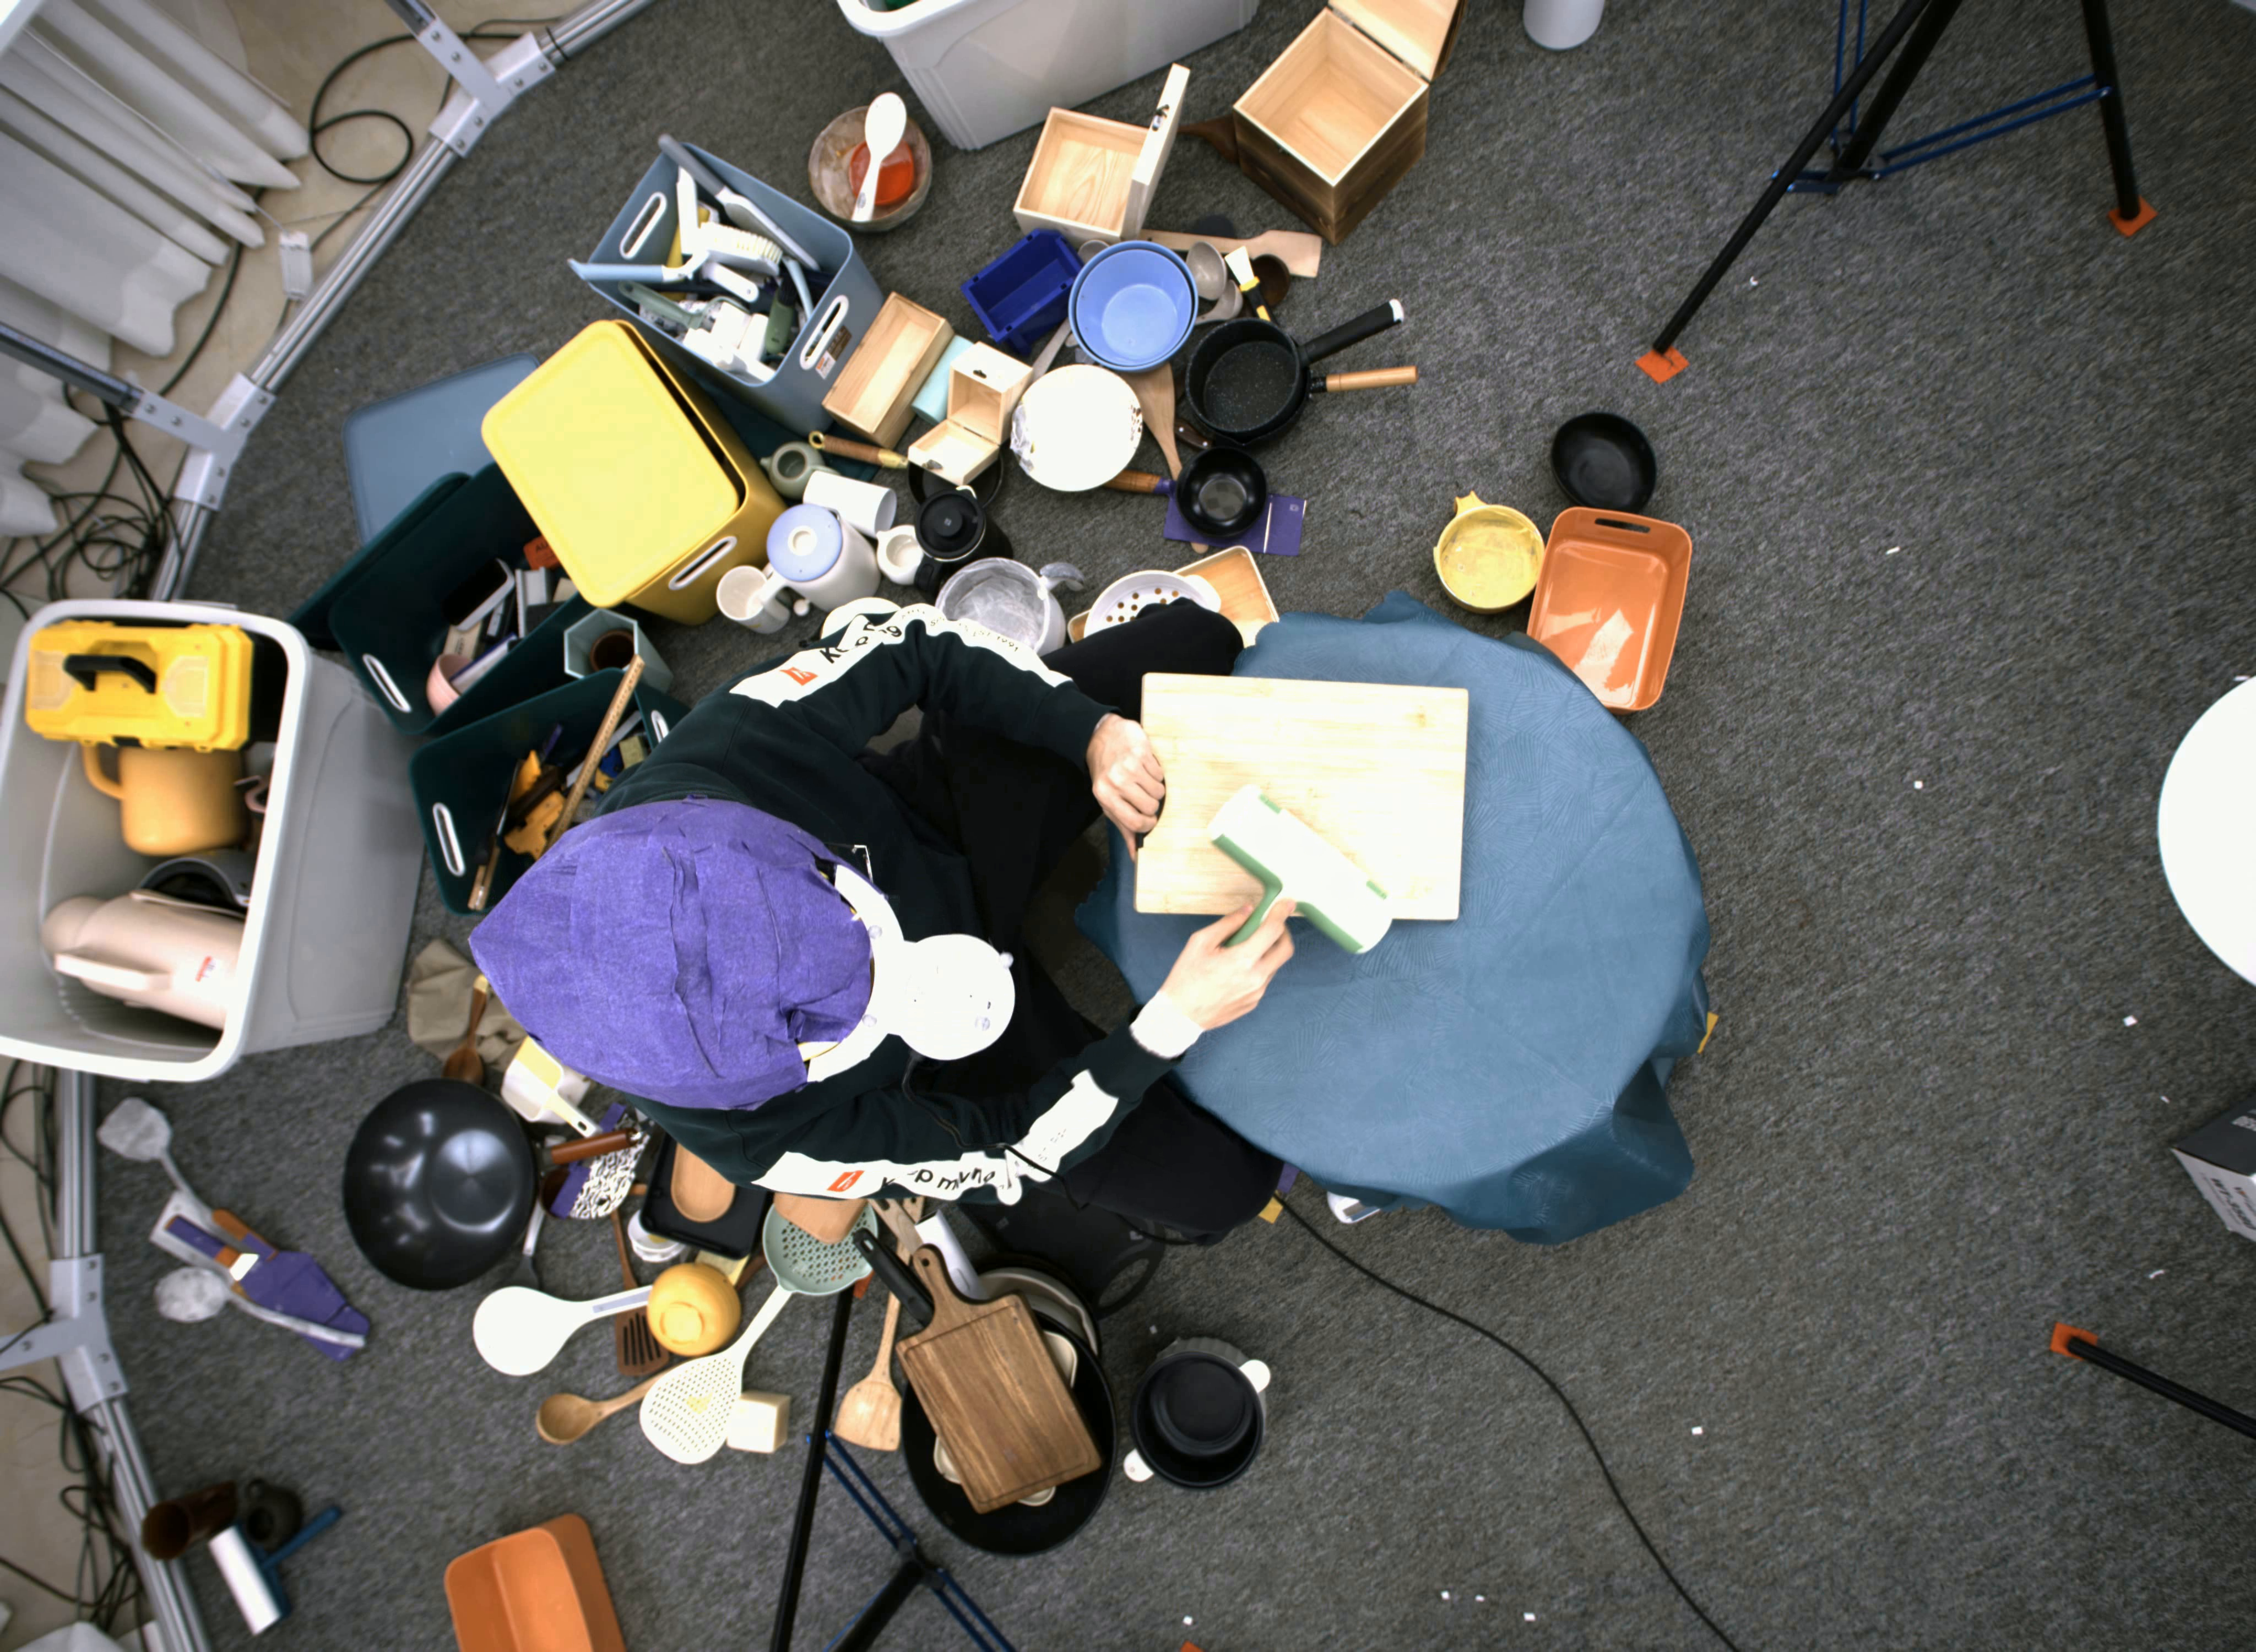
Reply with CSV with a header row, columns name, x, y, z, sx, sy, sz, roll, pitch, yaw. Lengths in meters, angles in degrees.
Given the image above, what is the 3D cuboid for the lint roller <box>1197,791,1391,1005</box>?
name,x,y,z,sx,sy,sz,roll,pitch,yaw
lint roller,0.131,0.093,1.305,0.199,0.082,0.181,38,78,-12

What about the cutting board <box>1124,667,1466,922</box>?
name,x,y,z,sx,sy,sz,roll,pitch,yaw
cutting board,0.172,-0.030,1.400,0.348,0.023,0.251,1,94,-8
